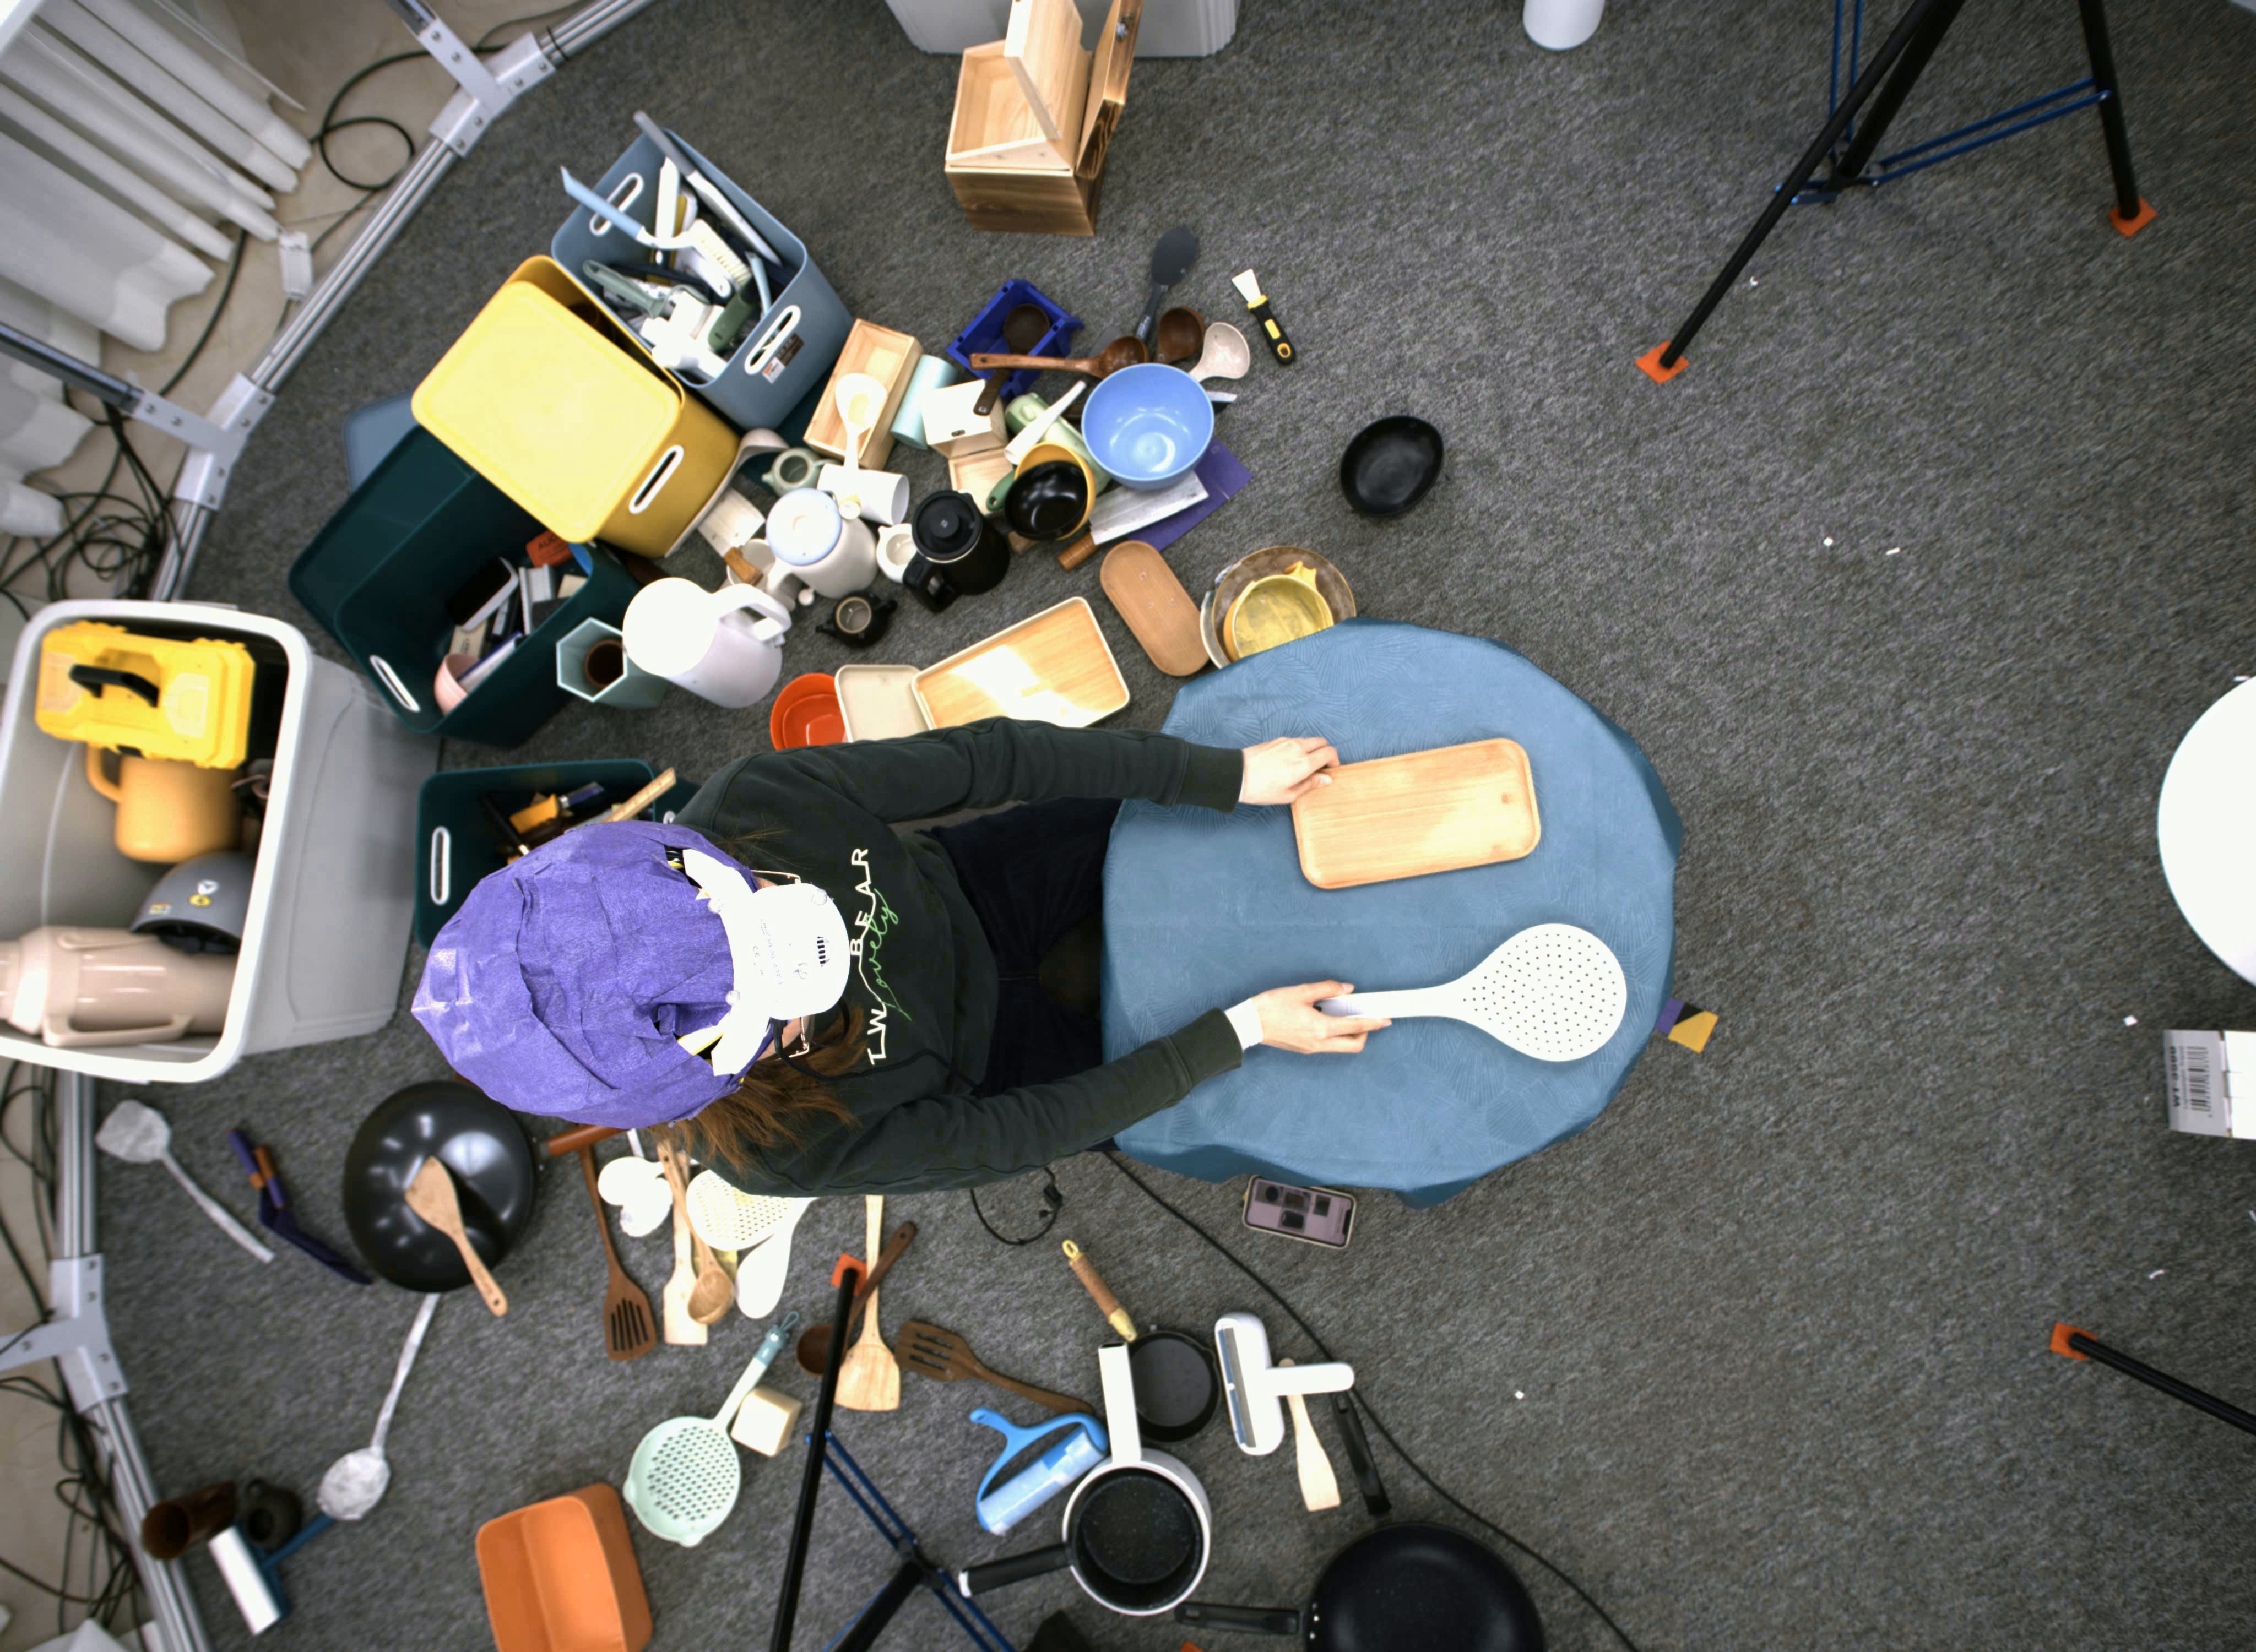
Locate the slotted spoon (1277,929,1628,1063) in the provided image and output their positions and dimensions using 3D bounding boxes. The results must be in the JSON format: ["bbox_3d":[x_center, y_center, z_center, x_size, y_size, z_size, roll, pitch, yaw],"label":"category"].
[{"bbox_3d":[0.329,0.180,1.417,0.351,0.046,0.134,-4,80,7],"label":"slotted spoon"}]

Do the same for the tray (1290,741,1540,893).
[{"bbox_3d":[0.301,-0.010,1.451,0.252,0.023,0.130,-10,88,10],"label":"tray"}]
